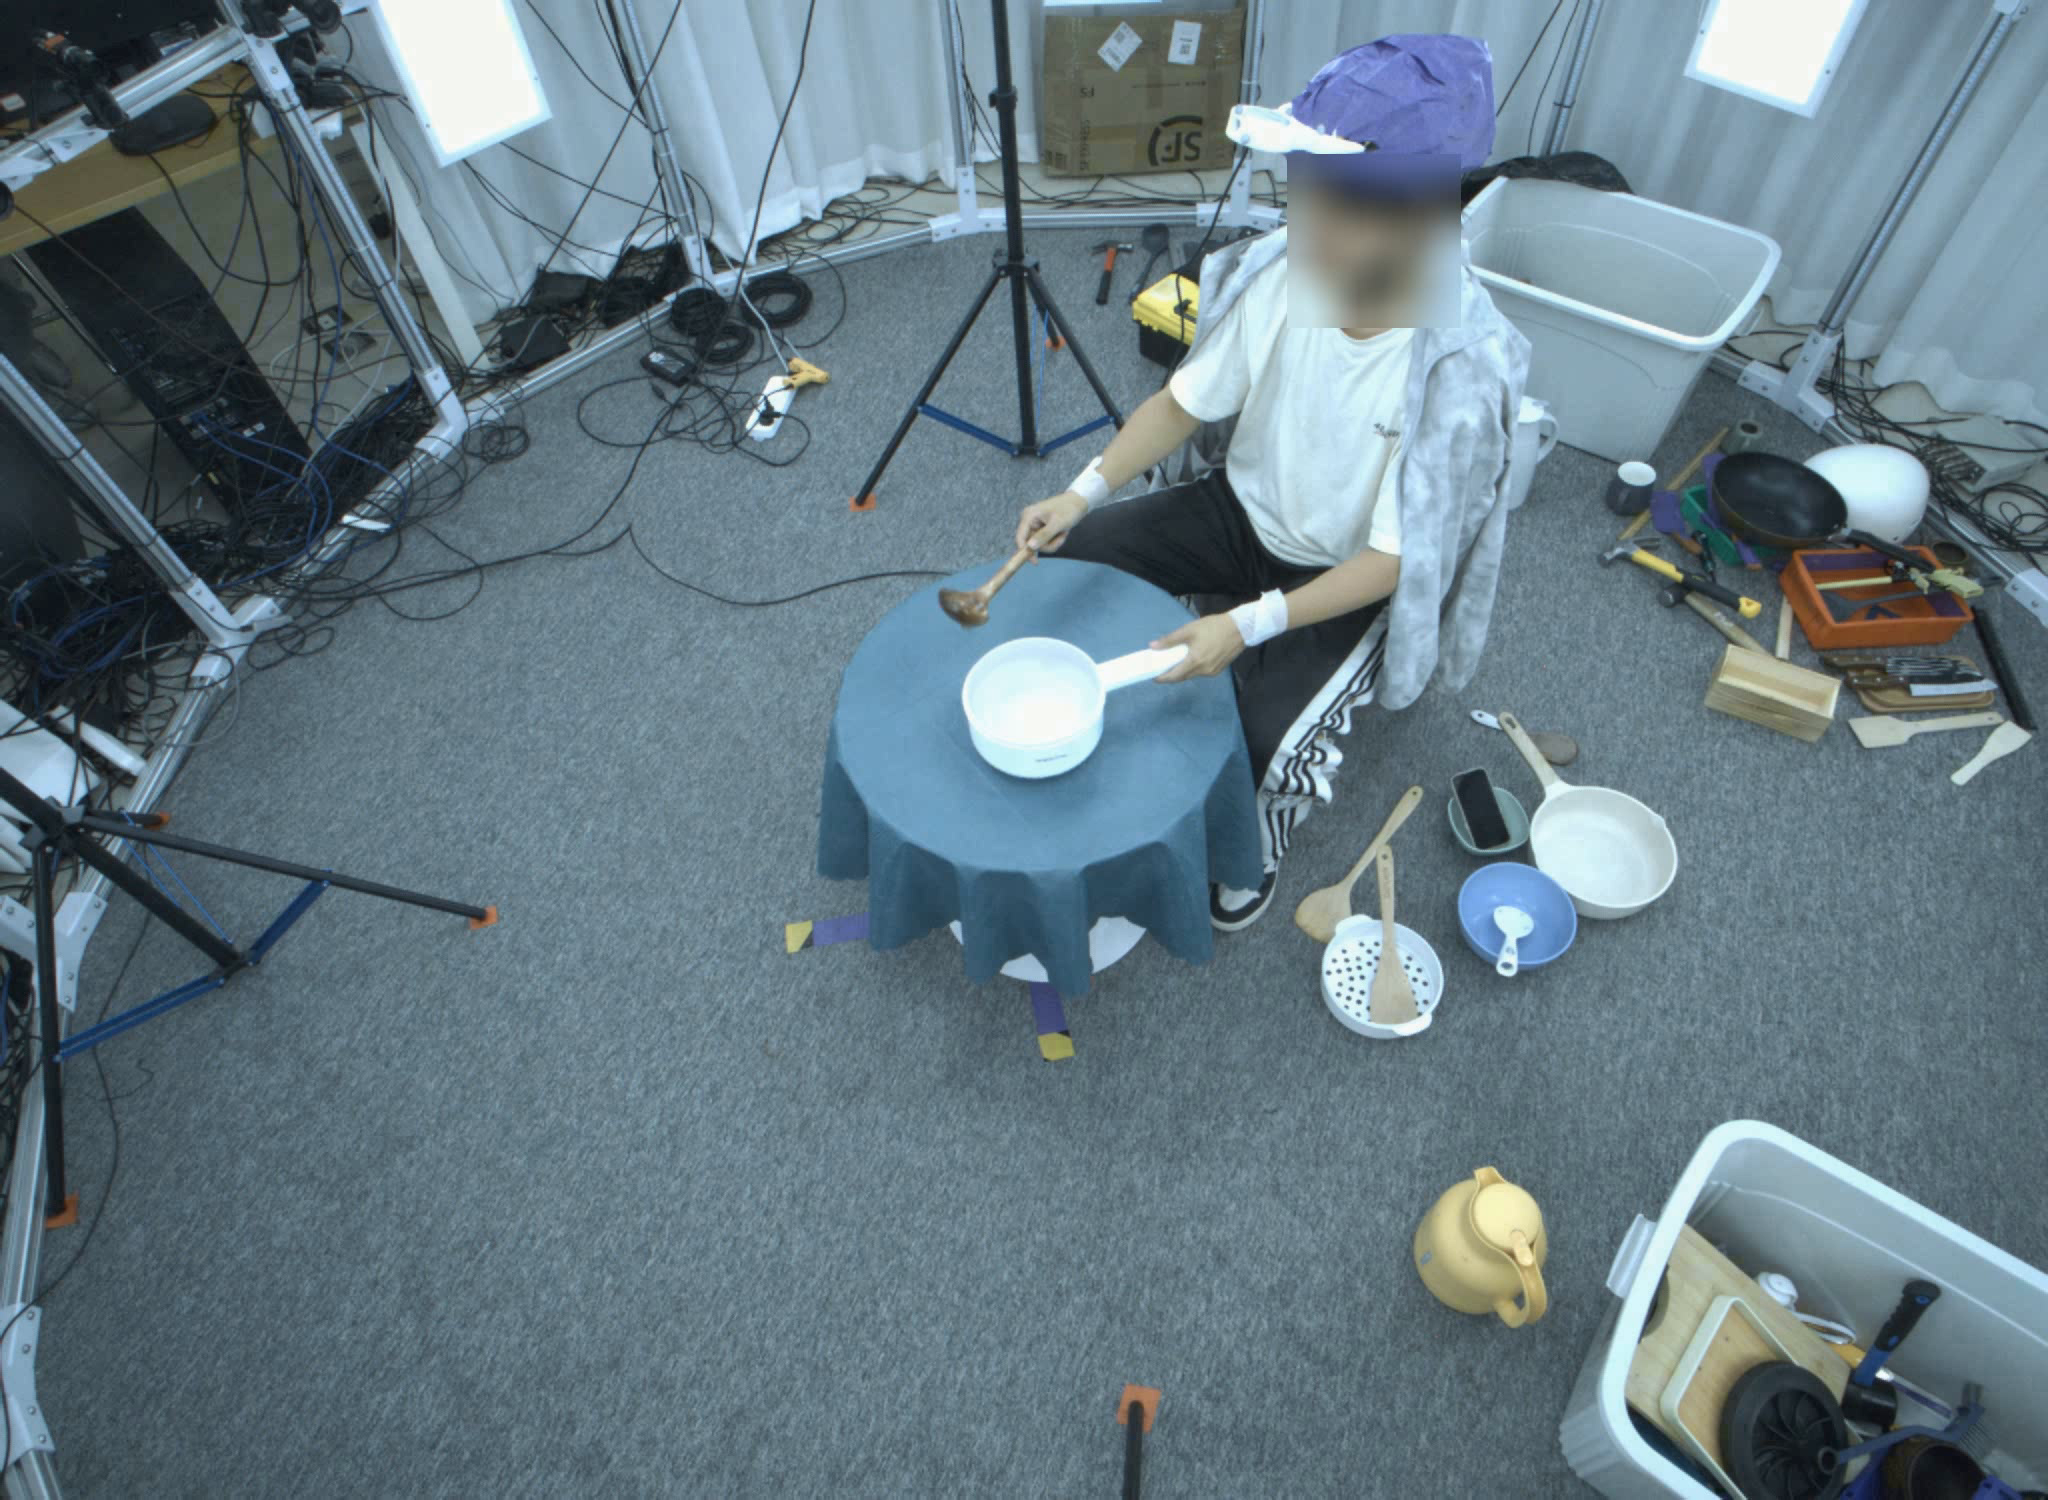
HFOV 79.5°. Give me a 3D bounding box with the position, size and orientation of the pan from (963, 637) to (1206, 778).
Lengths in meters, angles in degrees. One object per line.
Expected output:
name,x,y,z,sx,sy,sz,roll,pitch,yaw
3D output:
pan,0.090,-0.077,1.781,0.357,0.103,0.197,-17,55,-10

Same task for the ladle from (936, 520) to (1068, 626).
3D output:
ladle,-0.023,-0.273,1.778,0.082,0.076,0.276,43,63,4
